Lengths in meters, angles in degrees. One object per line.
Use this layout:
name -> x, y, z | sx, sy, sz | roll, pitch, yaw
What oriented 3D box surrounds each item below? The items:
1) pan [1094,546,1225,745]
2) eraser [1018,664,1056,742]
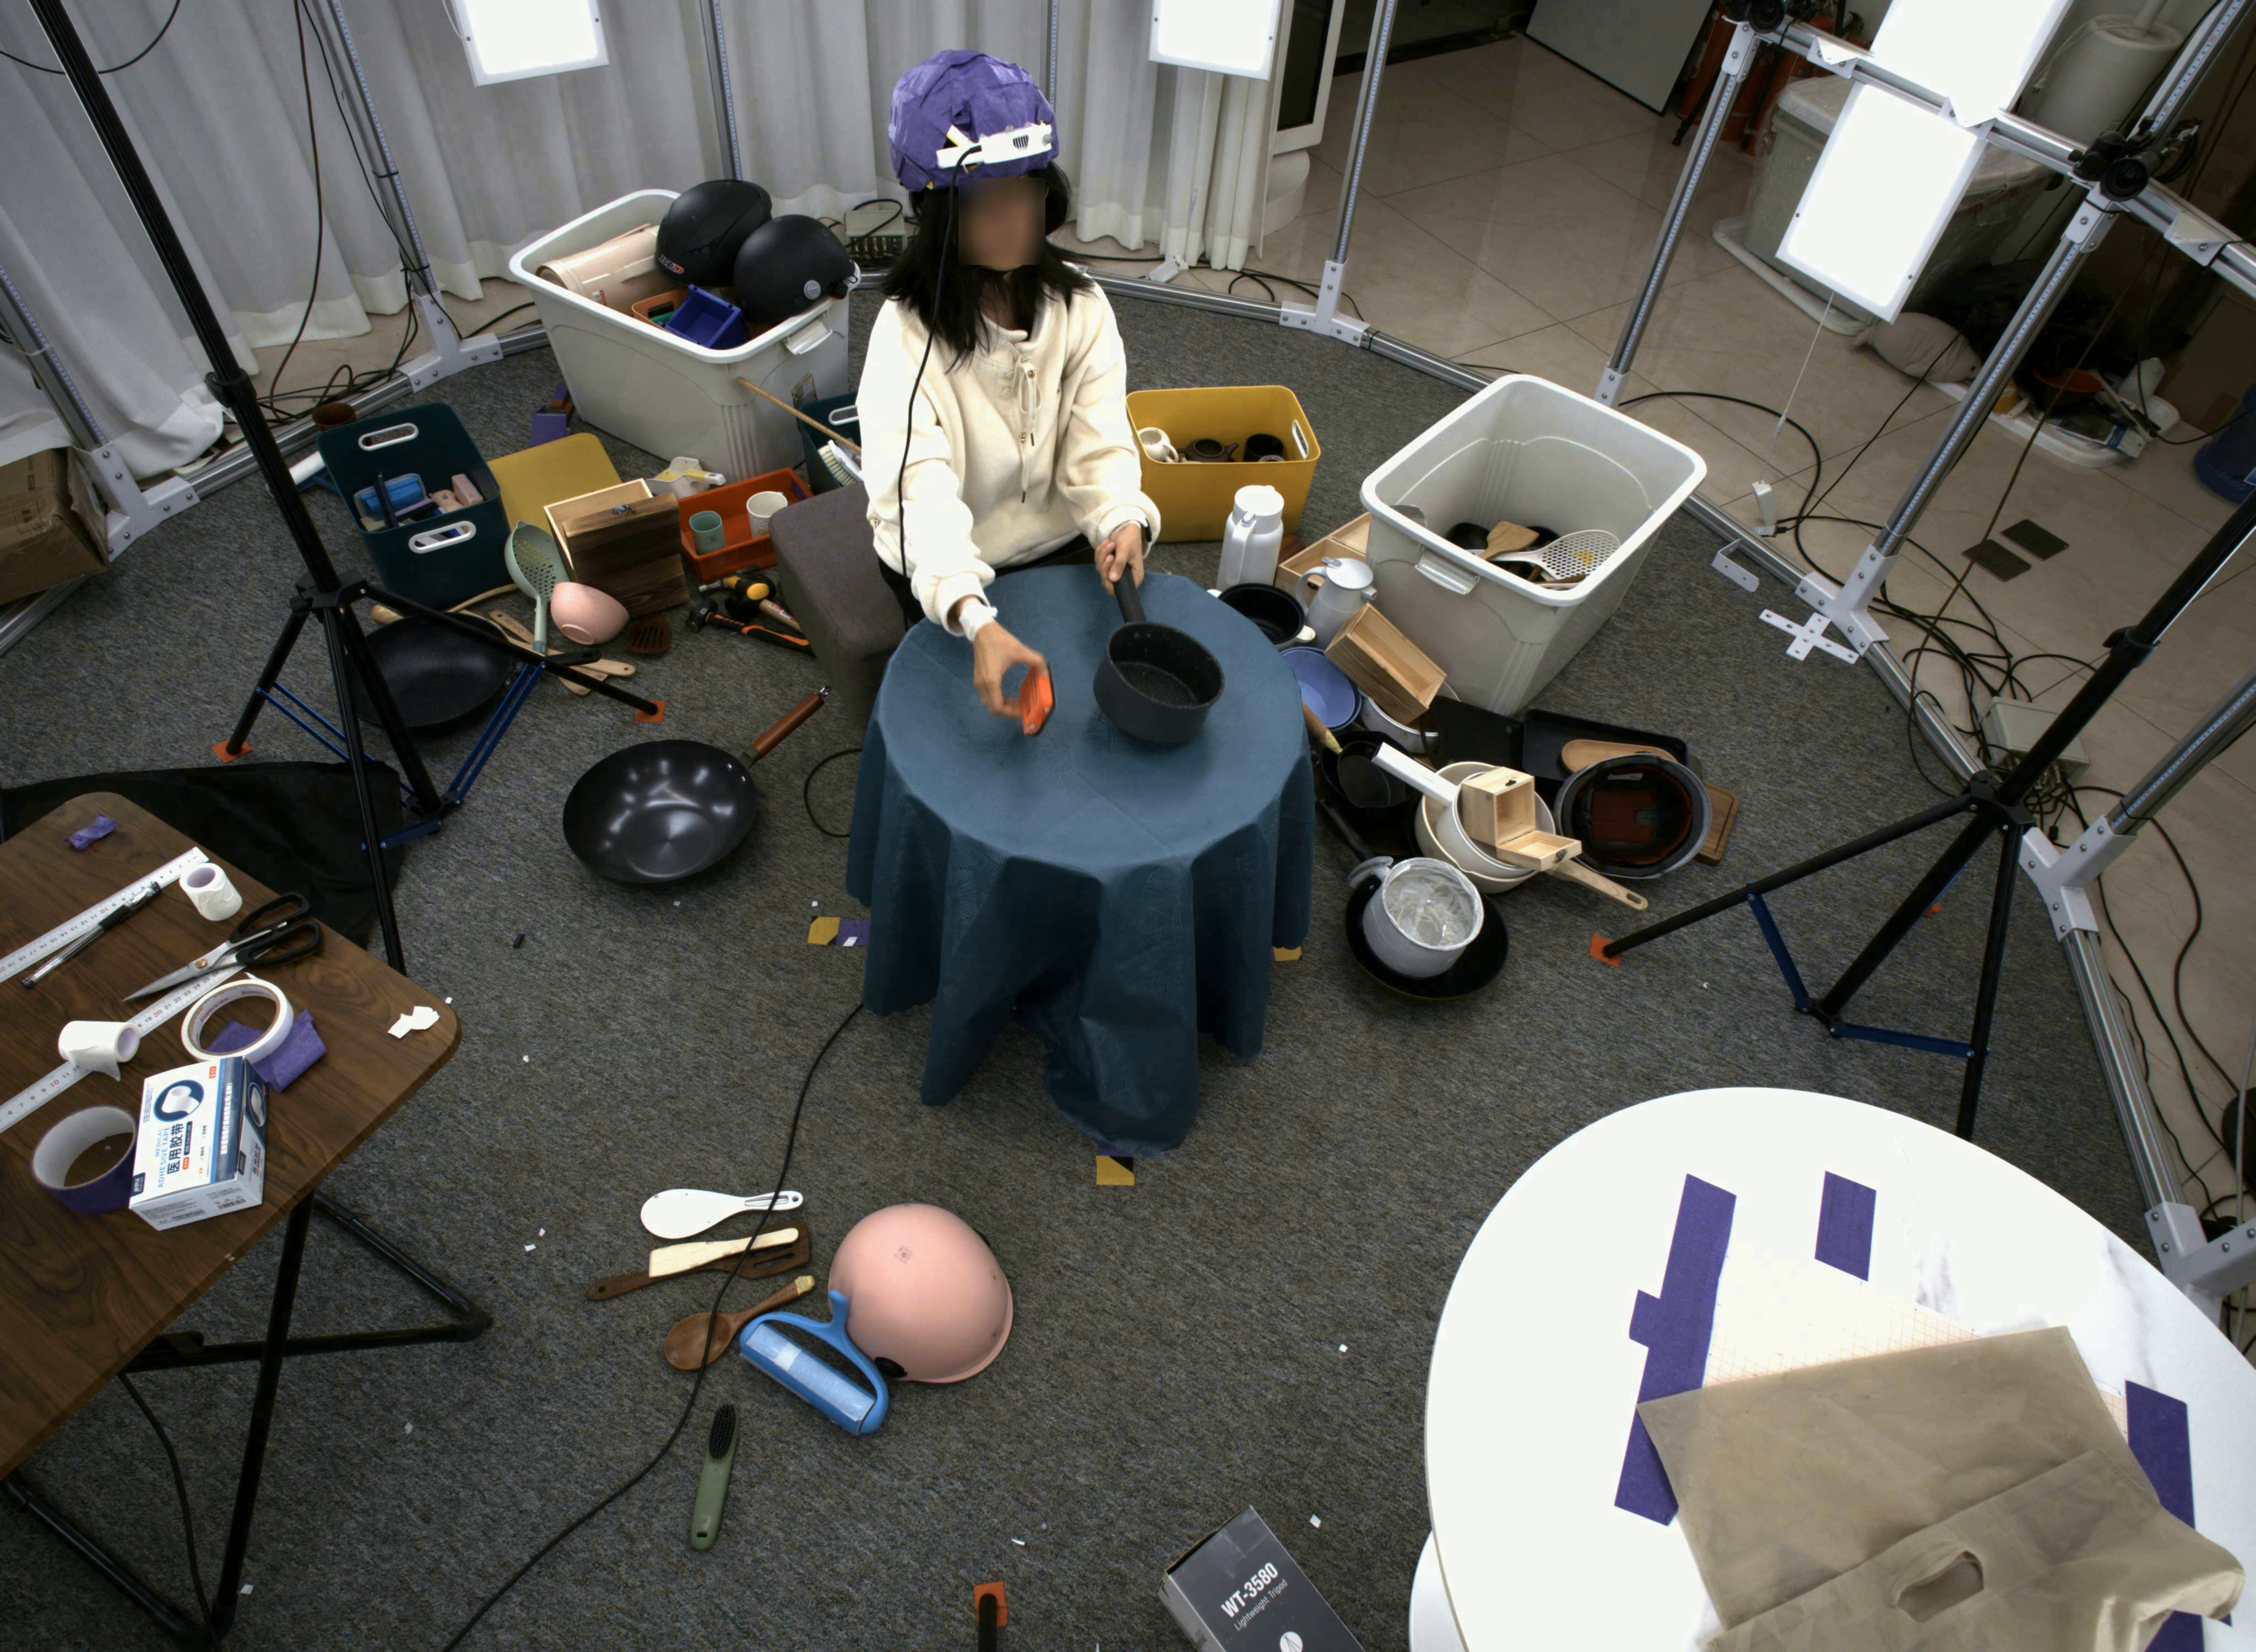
pan -> 0.019, -0.257, 1.809 | 0.171, 0.085, 0.337 | 1, 49, -24
eraser -> -0.122, -0.166, 1.713 | 0.022, 0.058, 0.111 | 21, 32, -24
